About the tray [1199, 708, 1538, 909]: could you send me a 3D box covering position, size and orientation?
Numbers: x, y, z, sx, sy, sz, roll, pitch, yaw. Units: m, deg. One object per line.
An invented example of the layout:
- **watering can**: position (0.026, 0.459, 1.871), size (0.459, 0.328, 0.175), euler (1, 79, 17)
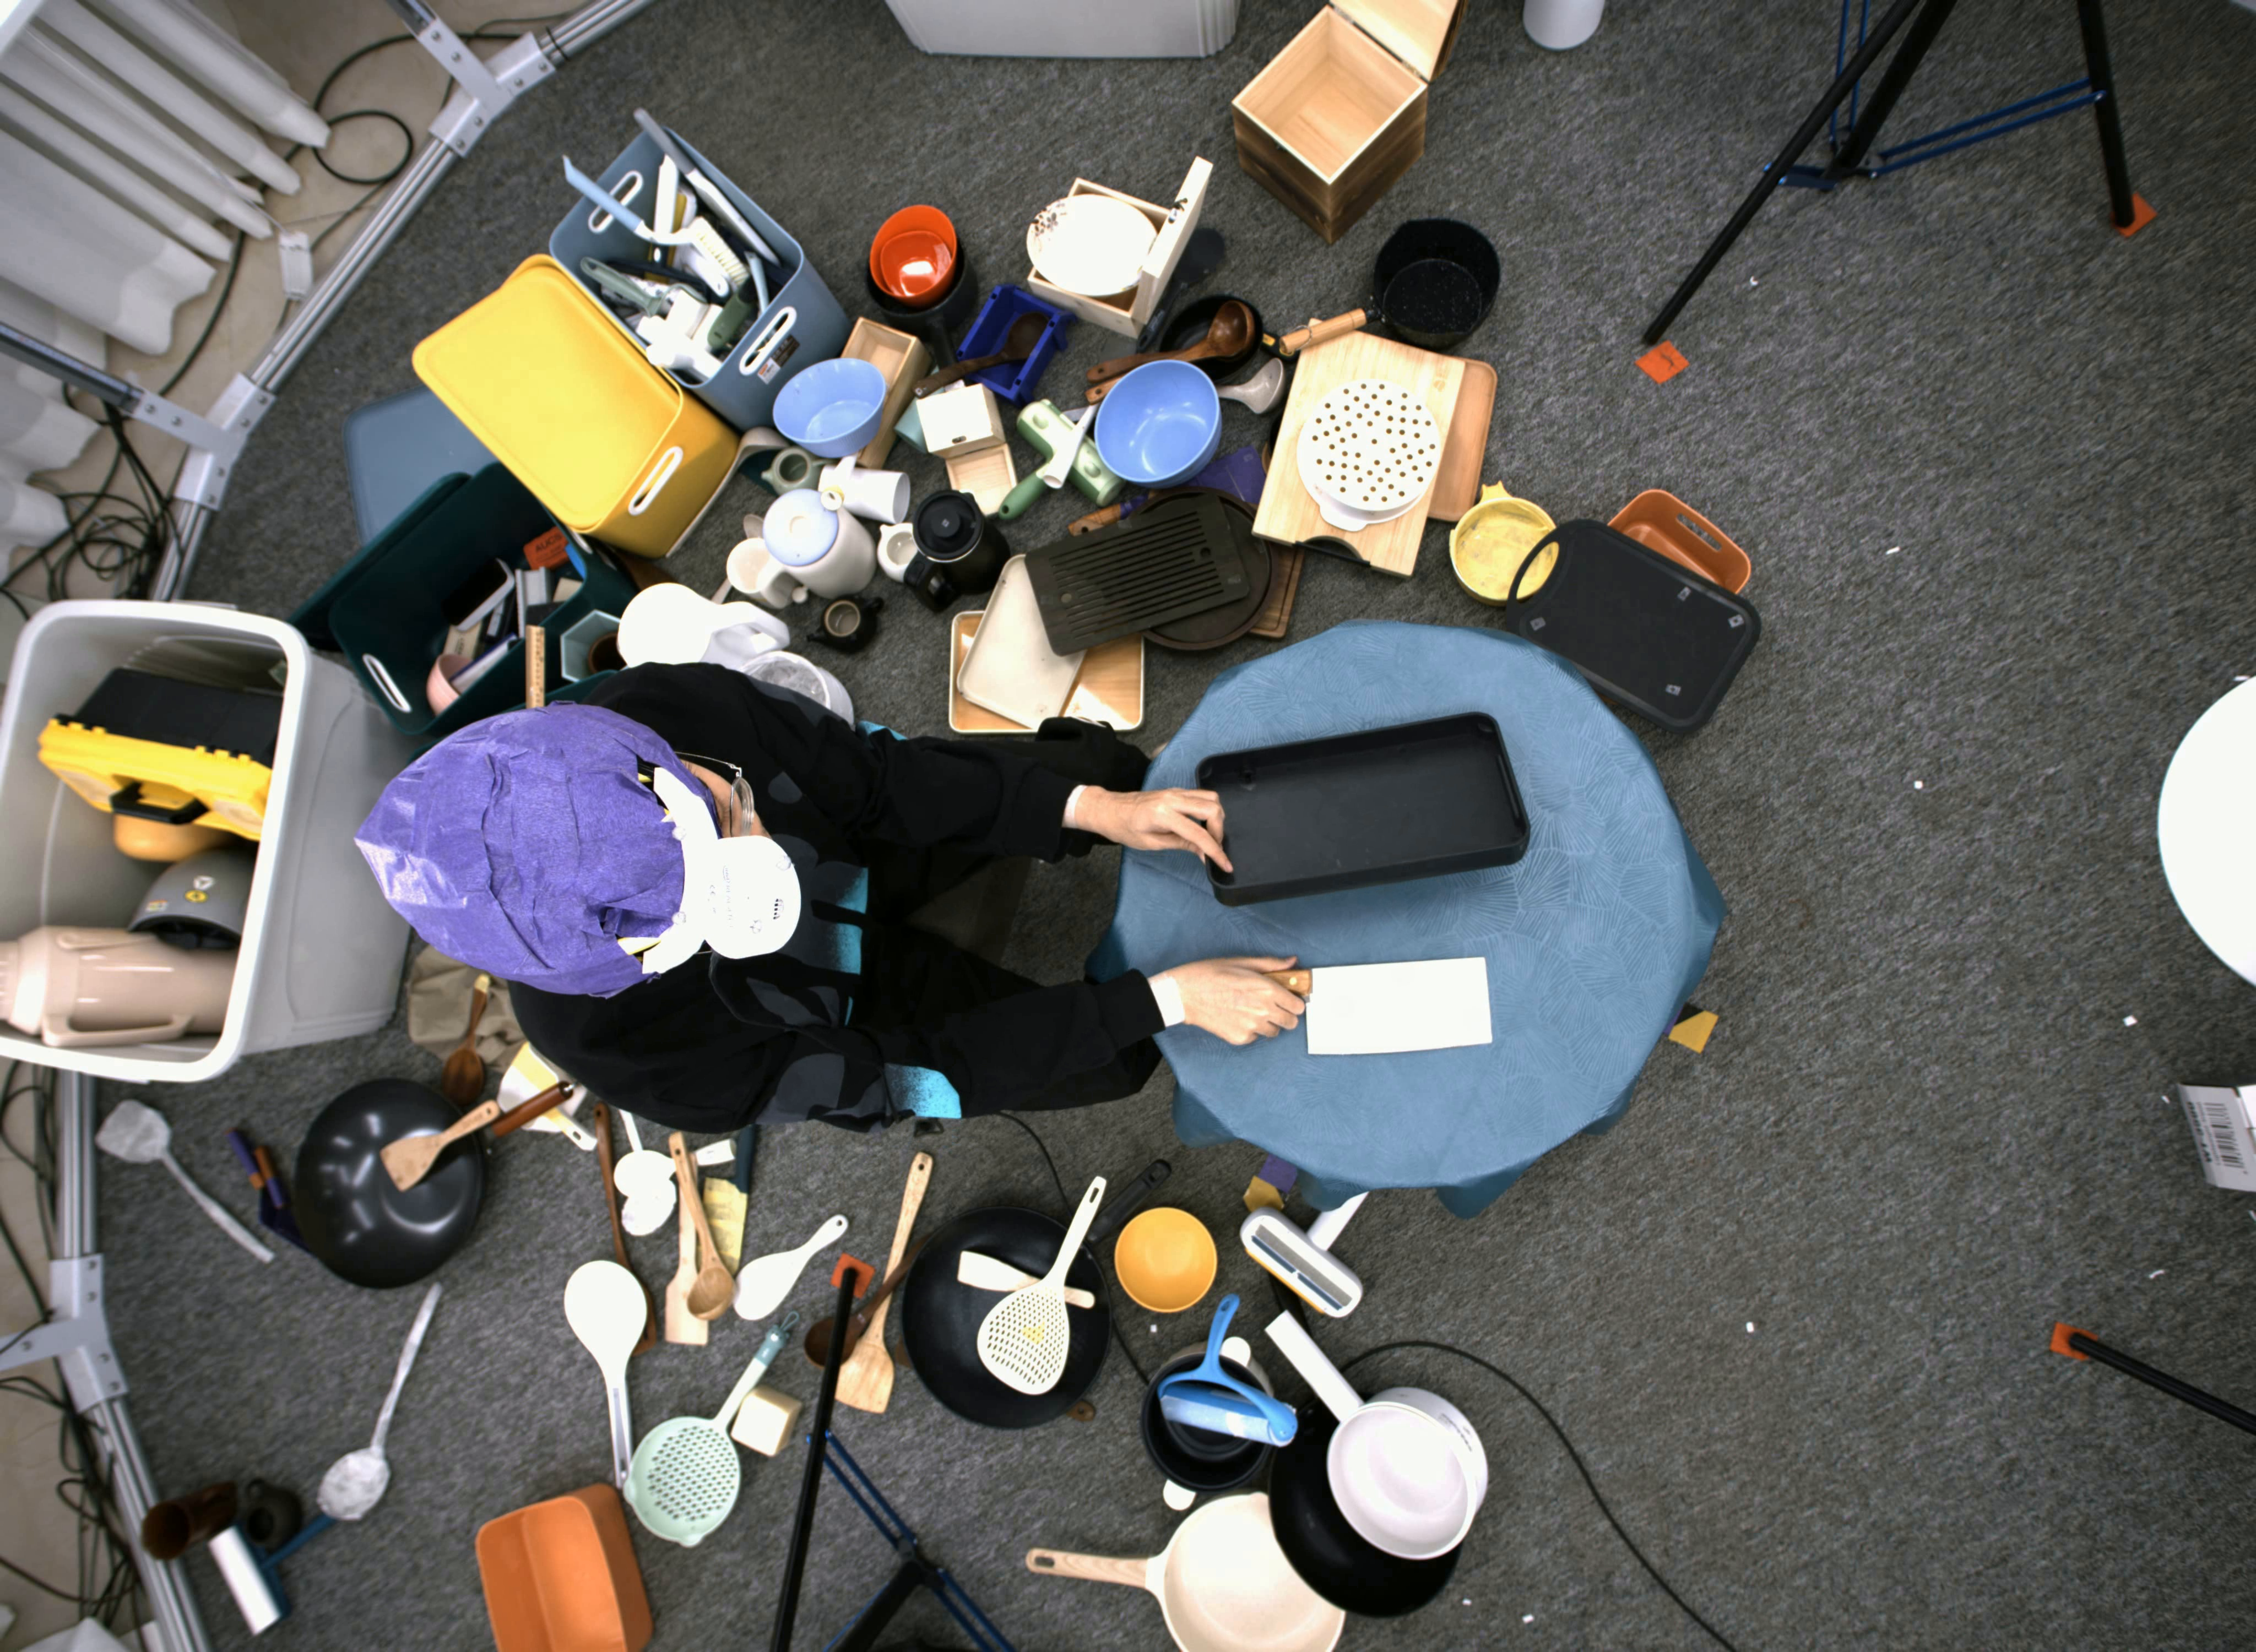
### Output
- **tray**: position (0.239, -0.021, 1.401), size (0.319, 0.038, 0.179), euler (-11, 51, 6)

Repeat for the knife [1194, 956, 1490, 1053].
- **knife**: position (0.224, 0.190, 1.454), size (0.307, 0.021, 0.092), euler (-5, 87, 8)
